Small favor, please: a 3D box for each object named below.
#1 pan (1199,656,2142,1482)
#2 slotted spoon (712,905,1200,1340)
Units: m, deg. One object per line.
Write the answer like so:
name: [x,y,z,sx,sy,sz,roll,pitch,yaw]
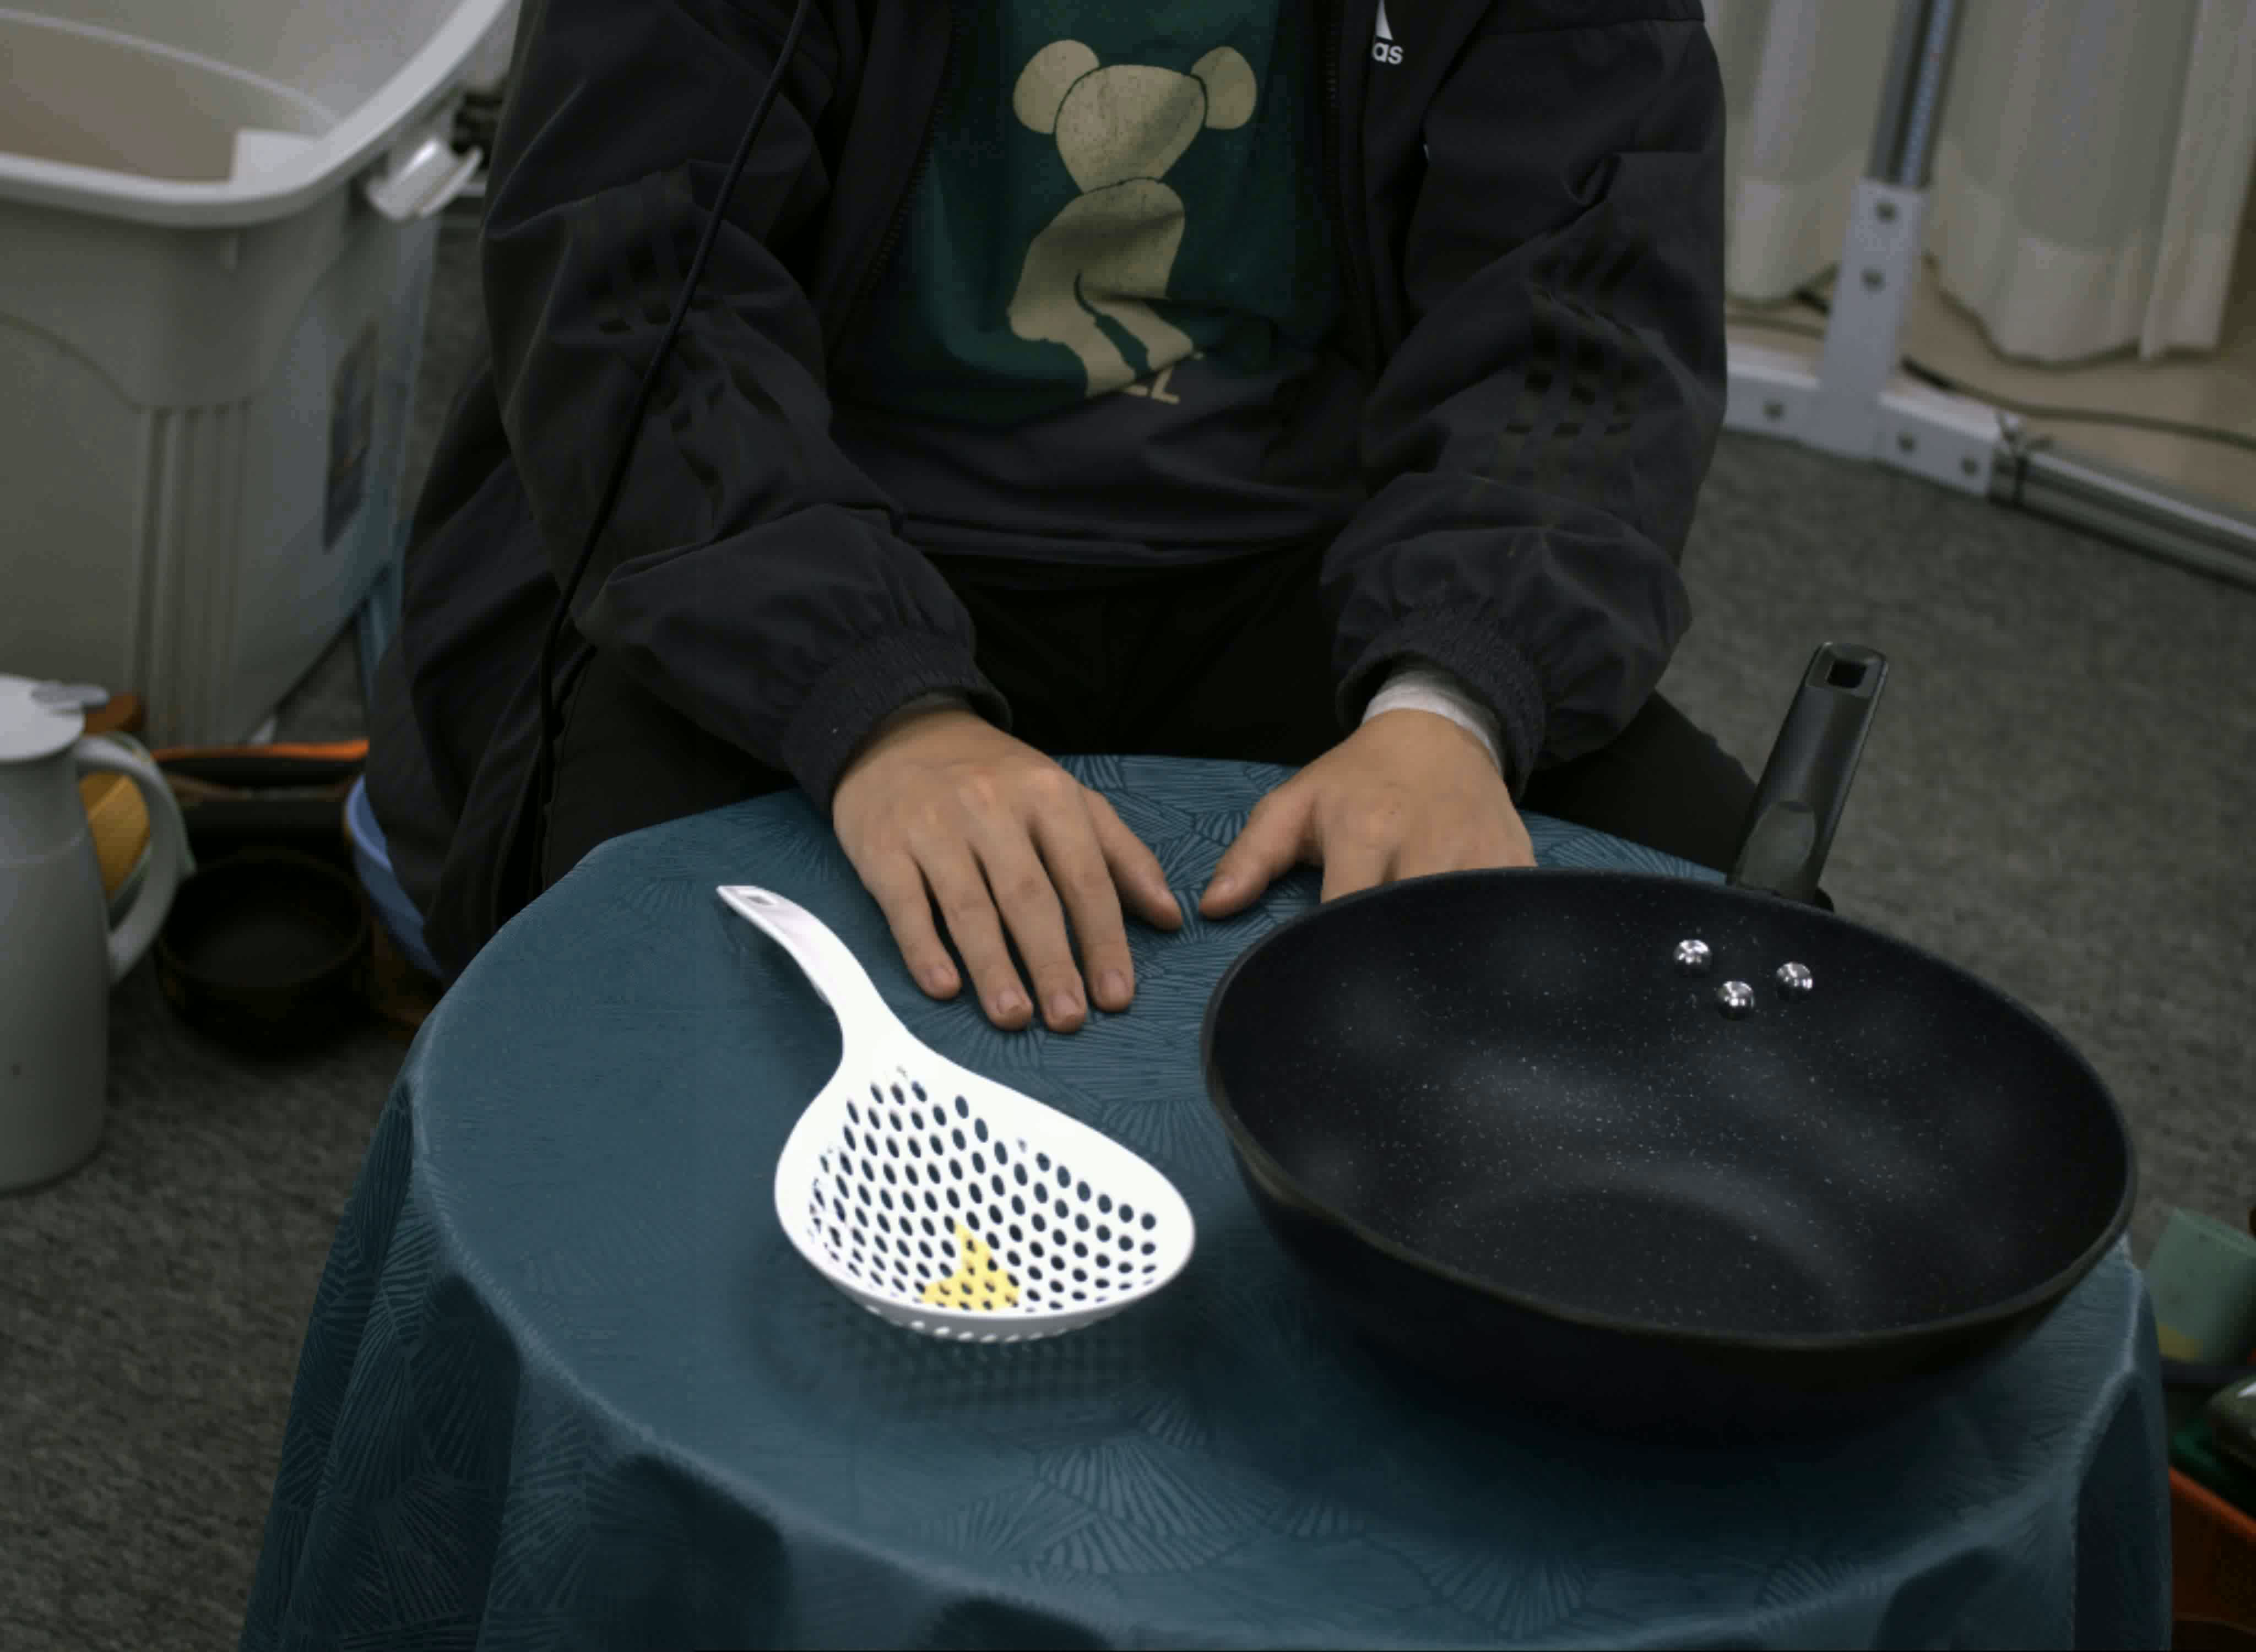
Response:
pan: [0.197,0.082,1.814,0.310,0.111,0.478,14,28,12]
slotted spoon: [-0.082,0.088,1.811,0.136,0.050,0.351,-5,29,-18]
